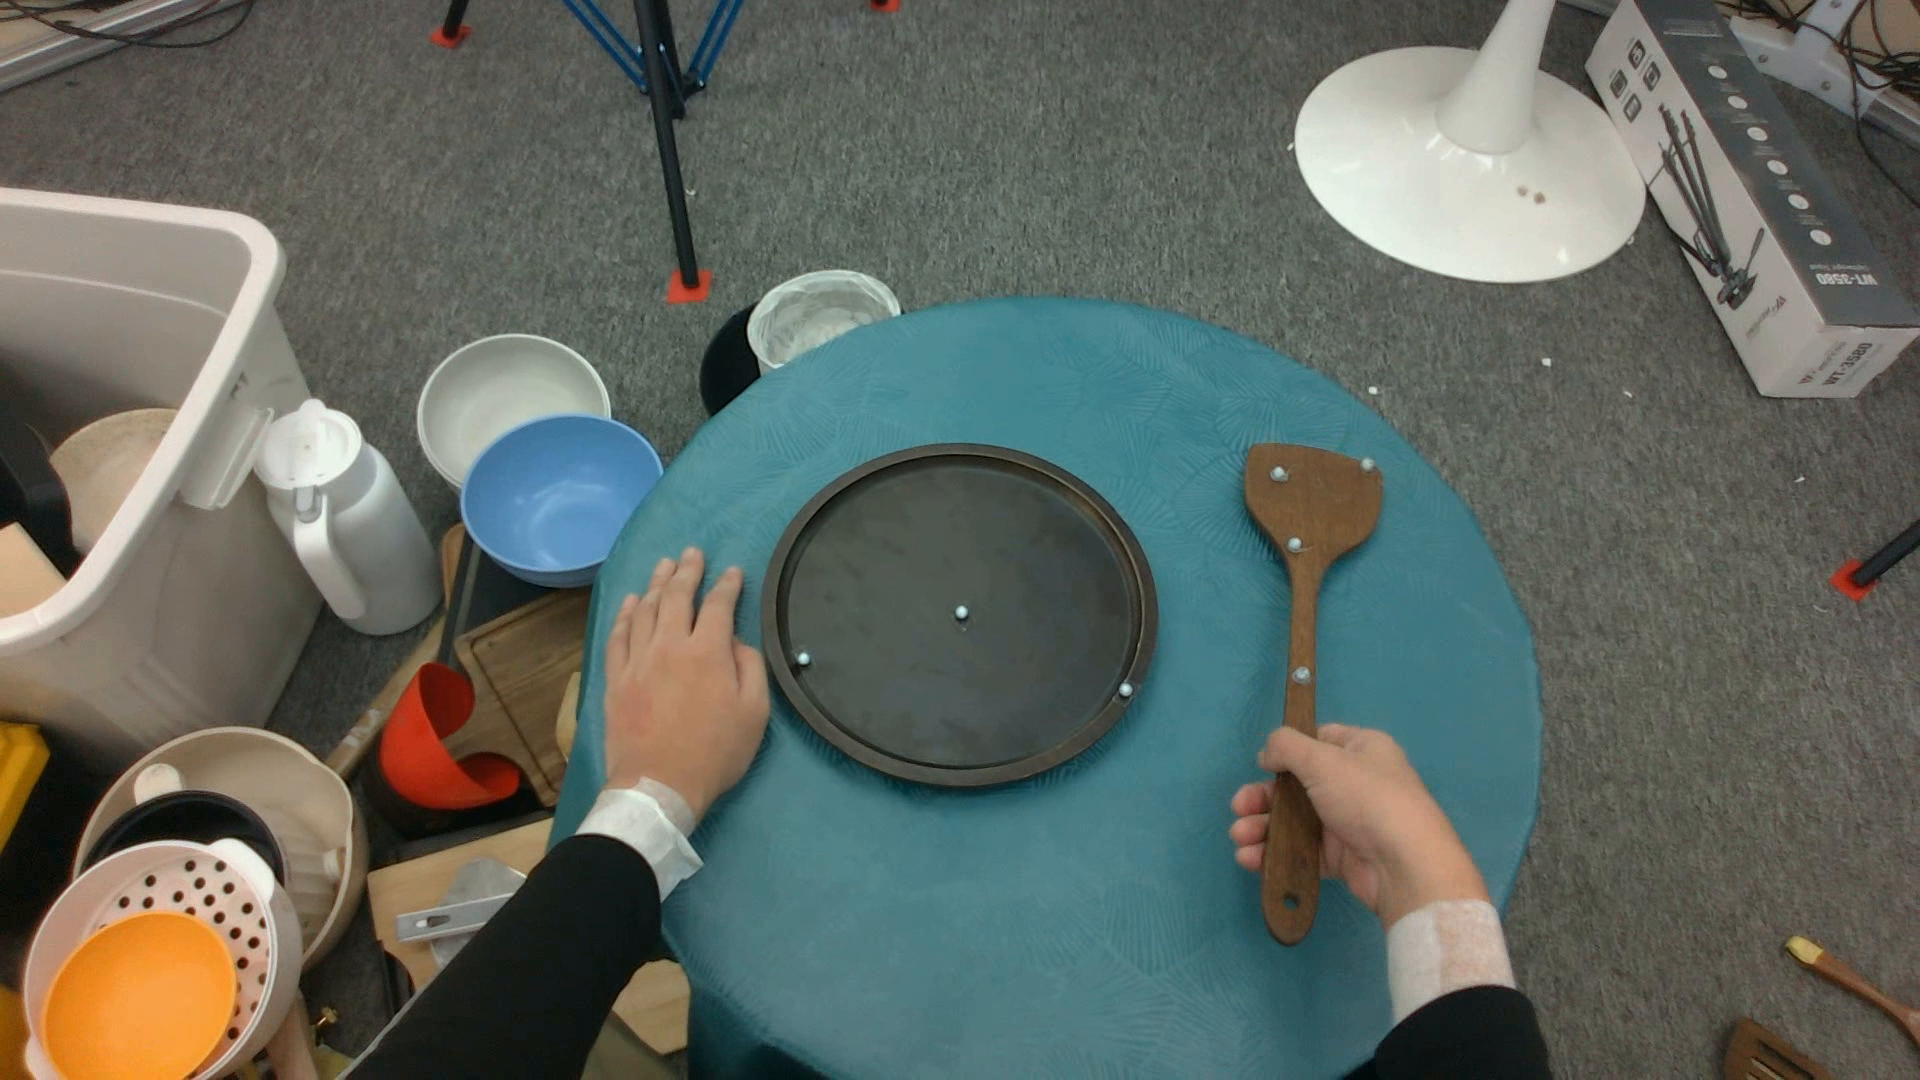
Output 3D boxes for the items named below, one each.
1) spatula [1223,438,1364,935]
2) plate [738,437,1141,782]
[{"bbox_3d":[0.197,0.065,0.836,0.096,0.015,0.388,12,45,5],"label":"spatula"},{"bbox_3d":[-0.013,0.038,0.873,0.255,0.029,0.256,2,56,-3],"label":"plate"}]
